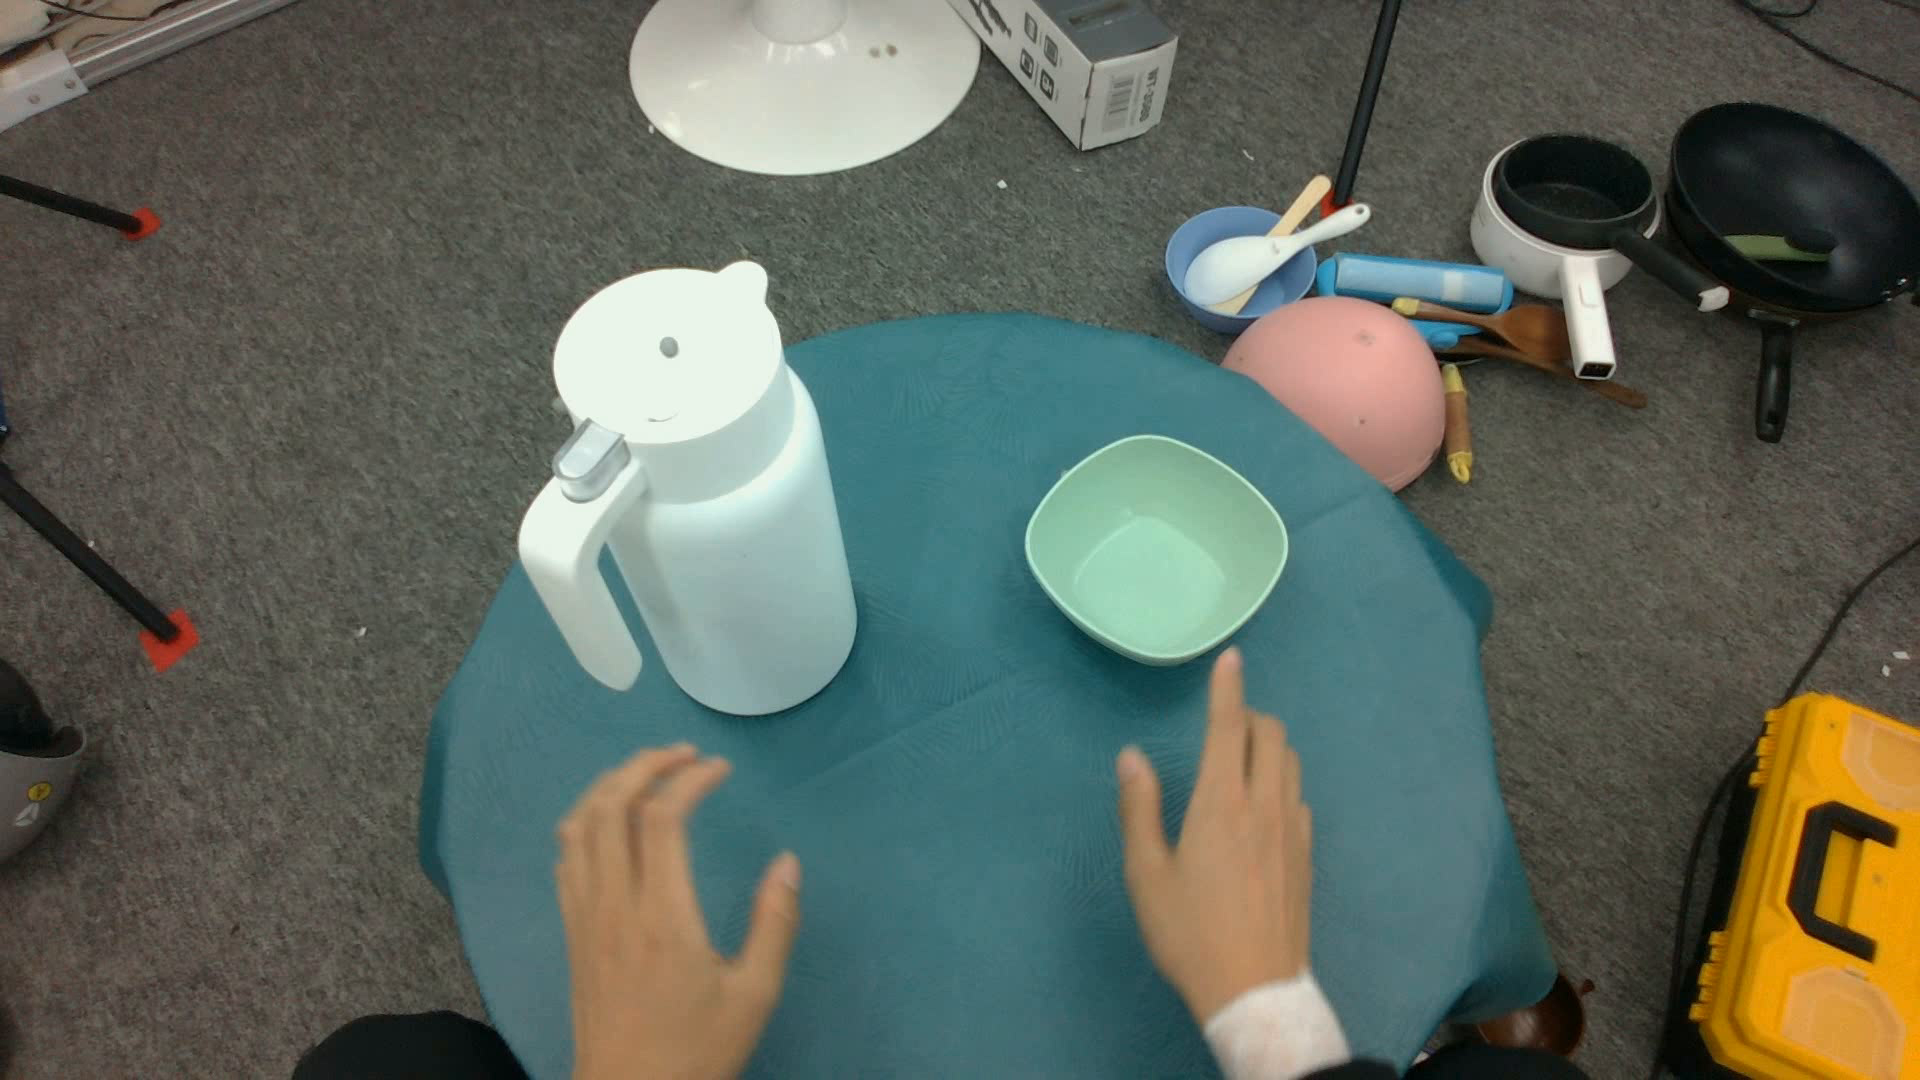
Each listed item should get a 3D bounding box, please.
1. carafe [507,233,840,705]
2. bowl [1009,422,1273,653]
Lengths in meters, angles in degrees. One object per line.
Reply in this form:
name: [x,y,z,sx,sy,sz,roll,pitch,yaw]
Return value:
carafe: [-0.138,-0.007,0.701,0.124,0.267,0.173,23,62,12]
bowl: [0.104,0.007,0.813,0.151,0.058,0.152,-1,59,1]
